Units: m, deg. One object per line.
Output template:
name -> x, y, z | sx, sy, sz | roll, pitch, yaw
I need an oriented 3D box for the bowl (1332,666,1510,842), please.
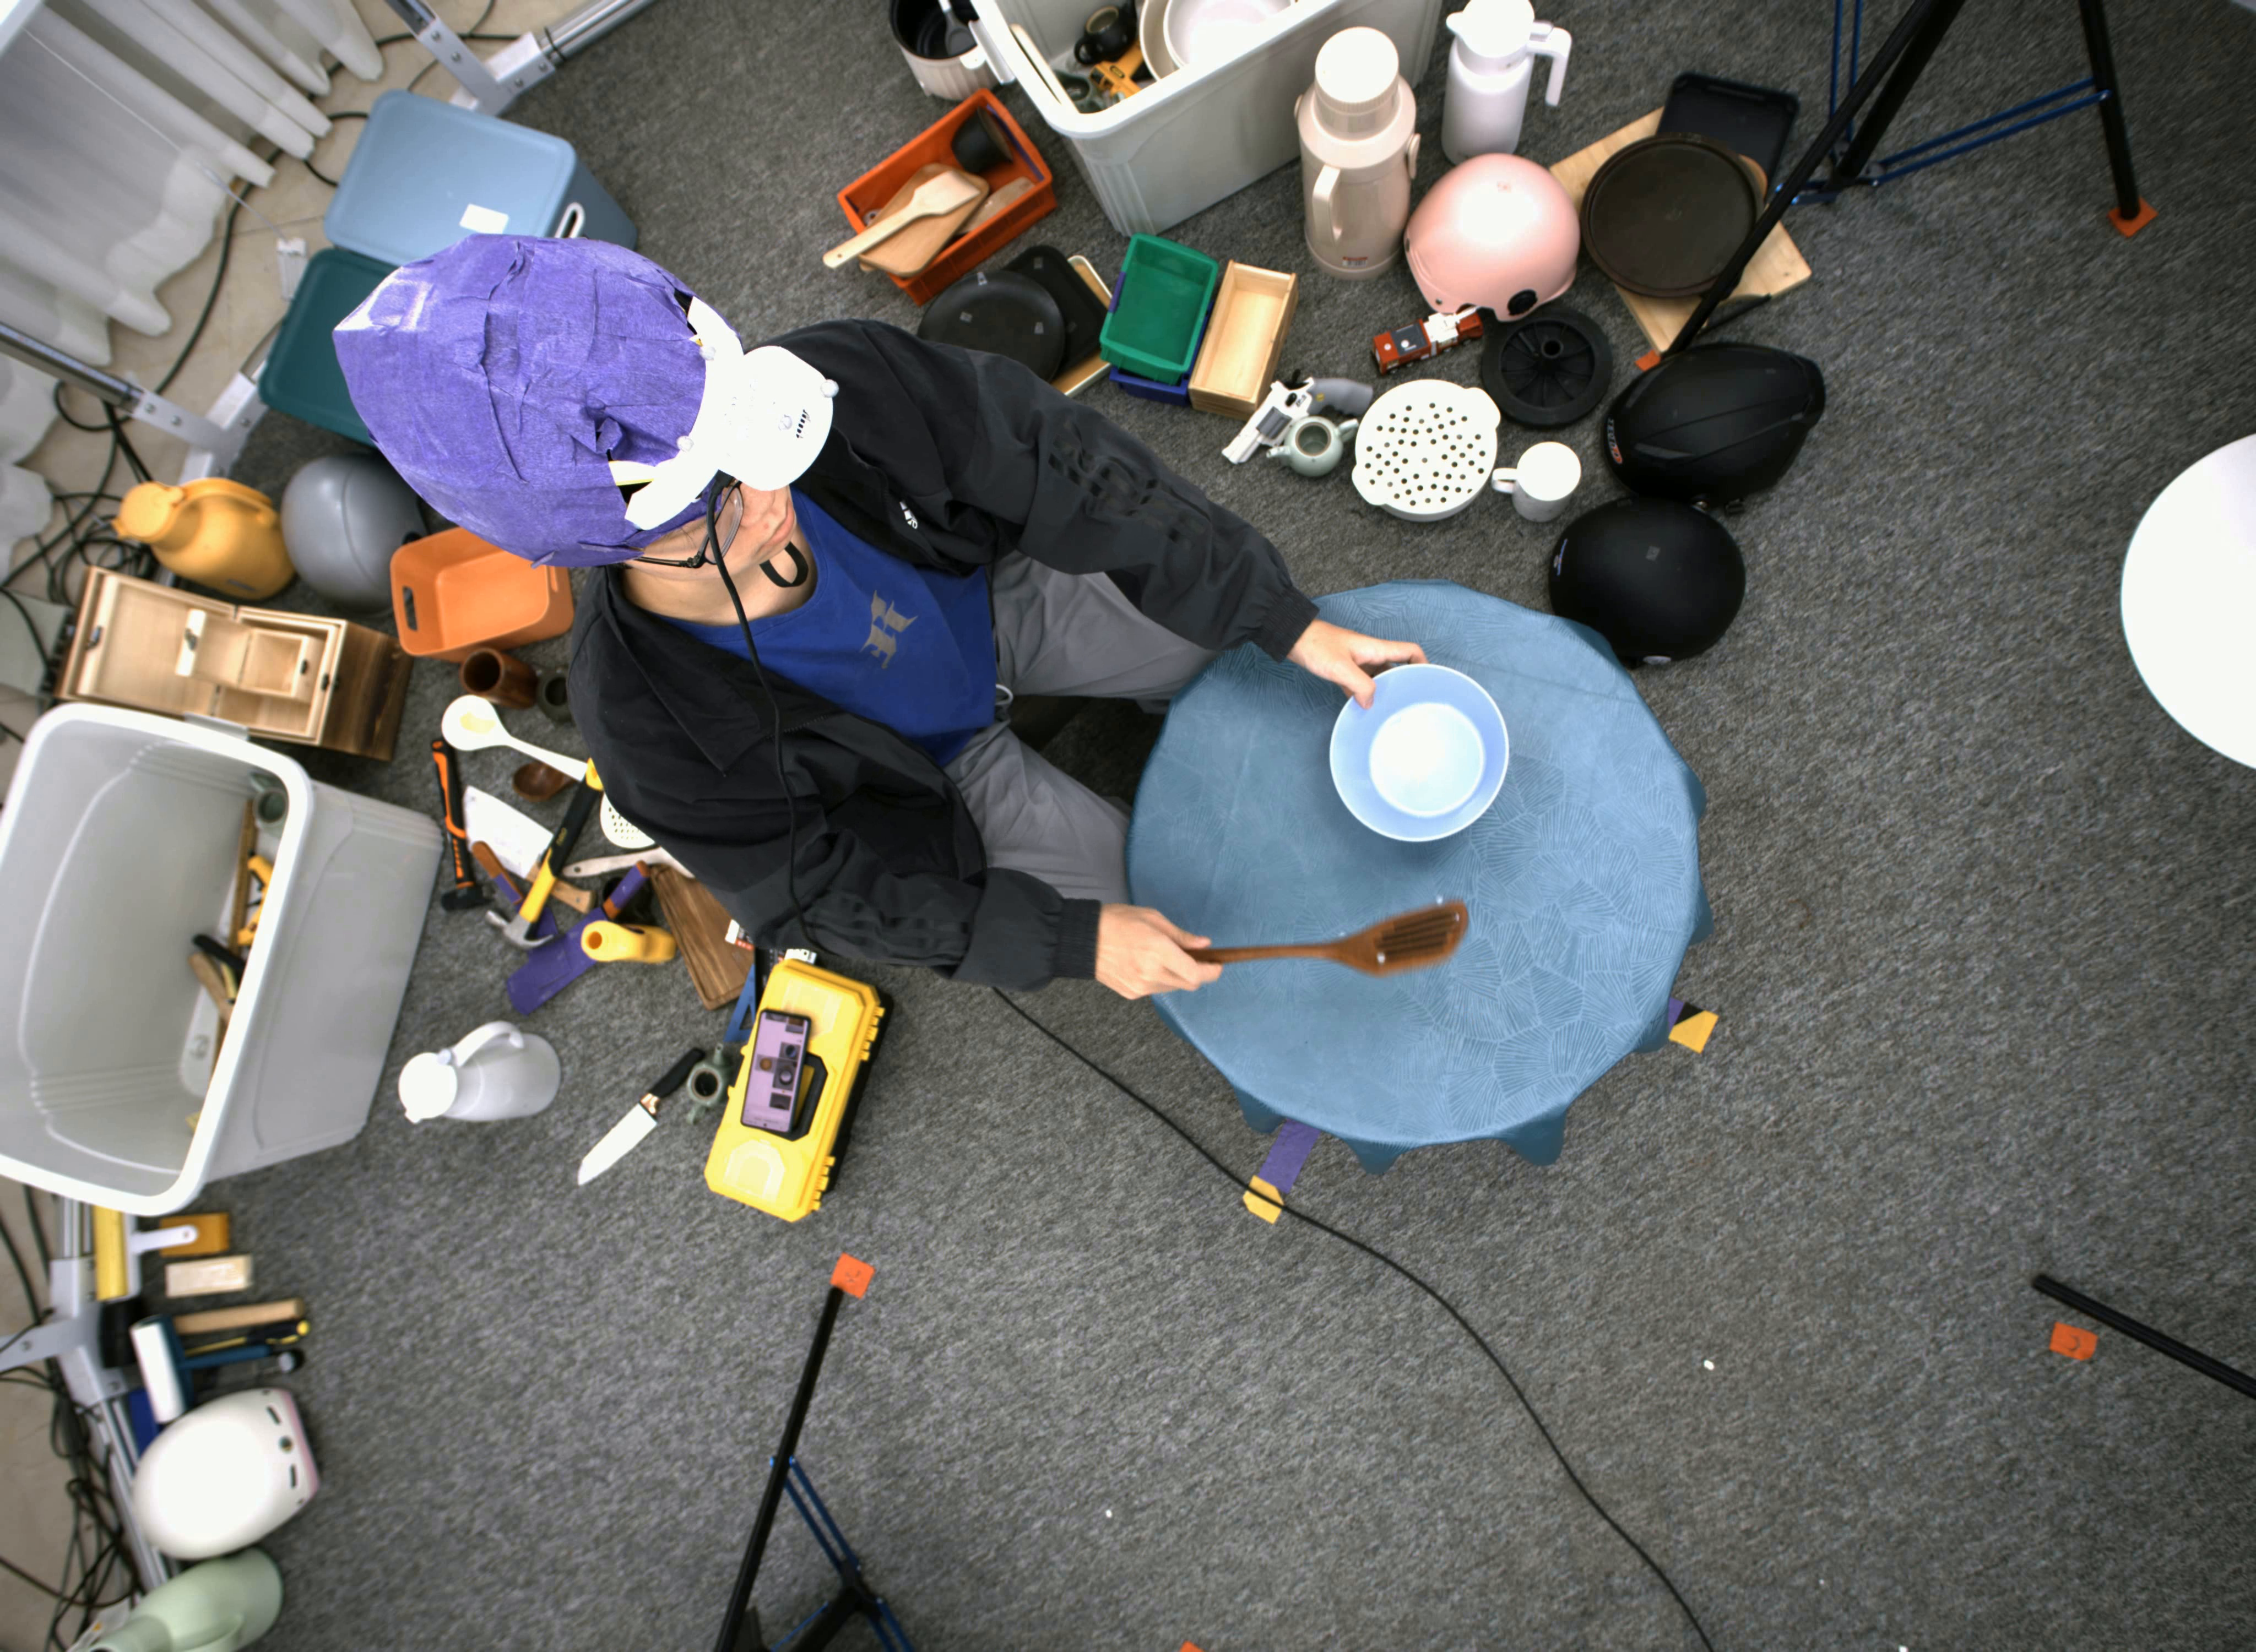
bowl -> 0.298, -0.070, 1.381 | 0.177, 0.070, 0.175 | -2, 87, 23

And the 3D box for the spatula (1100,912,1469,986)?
spatula -> 0.141, 0.129, 1.344 | 0.390, 0.083, 0.024 | -6, 127, 29
